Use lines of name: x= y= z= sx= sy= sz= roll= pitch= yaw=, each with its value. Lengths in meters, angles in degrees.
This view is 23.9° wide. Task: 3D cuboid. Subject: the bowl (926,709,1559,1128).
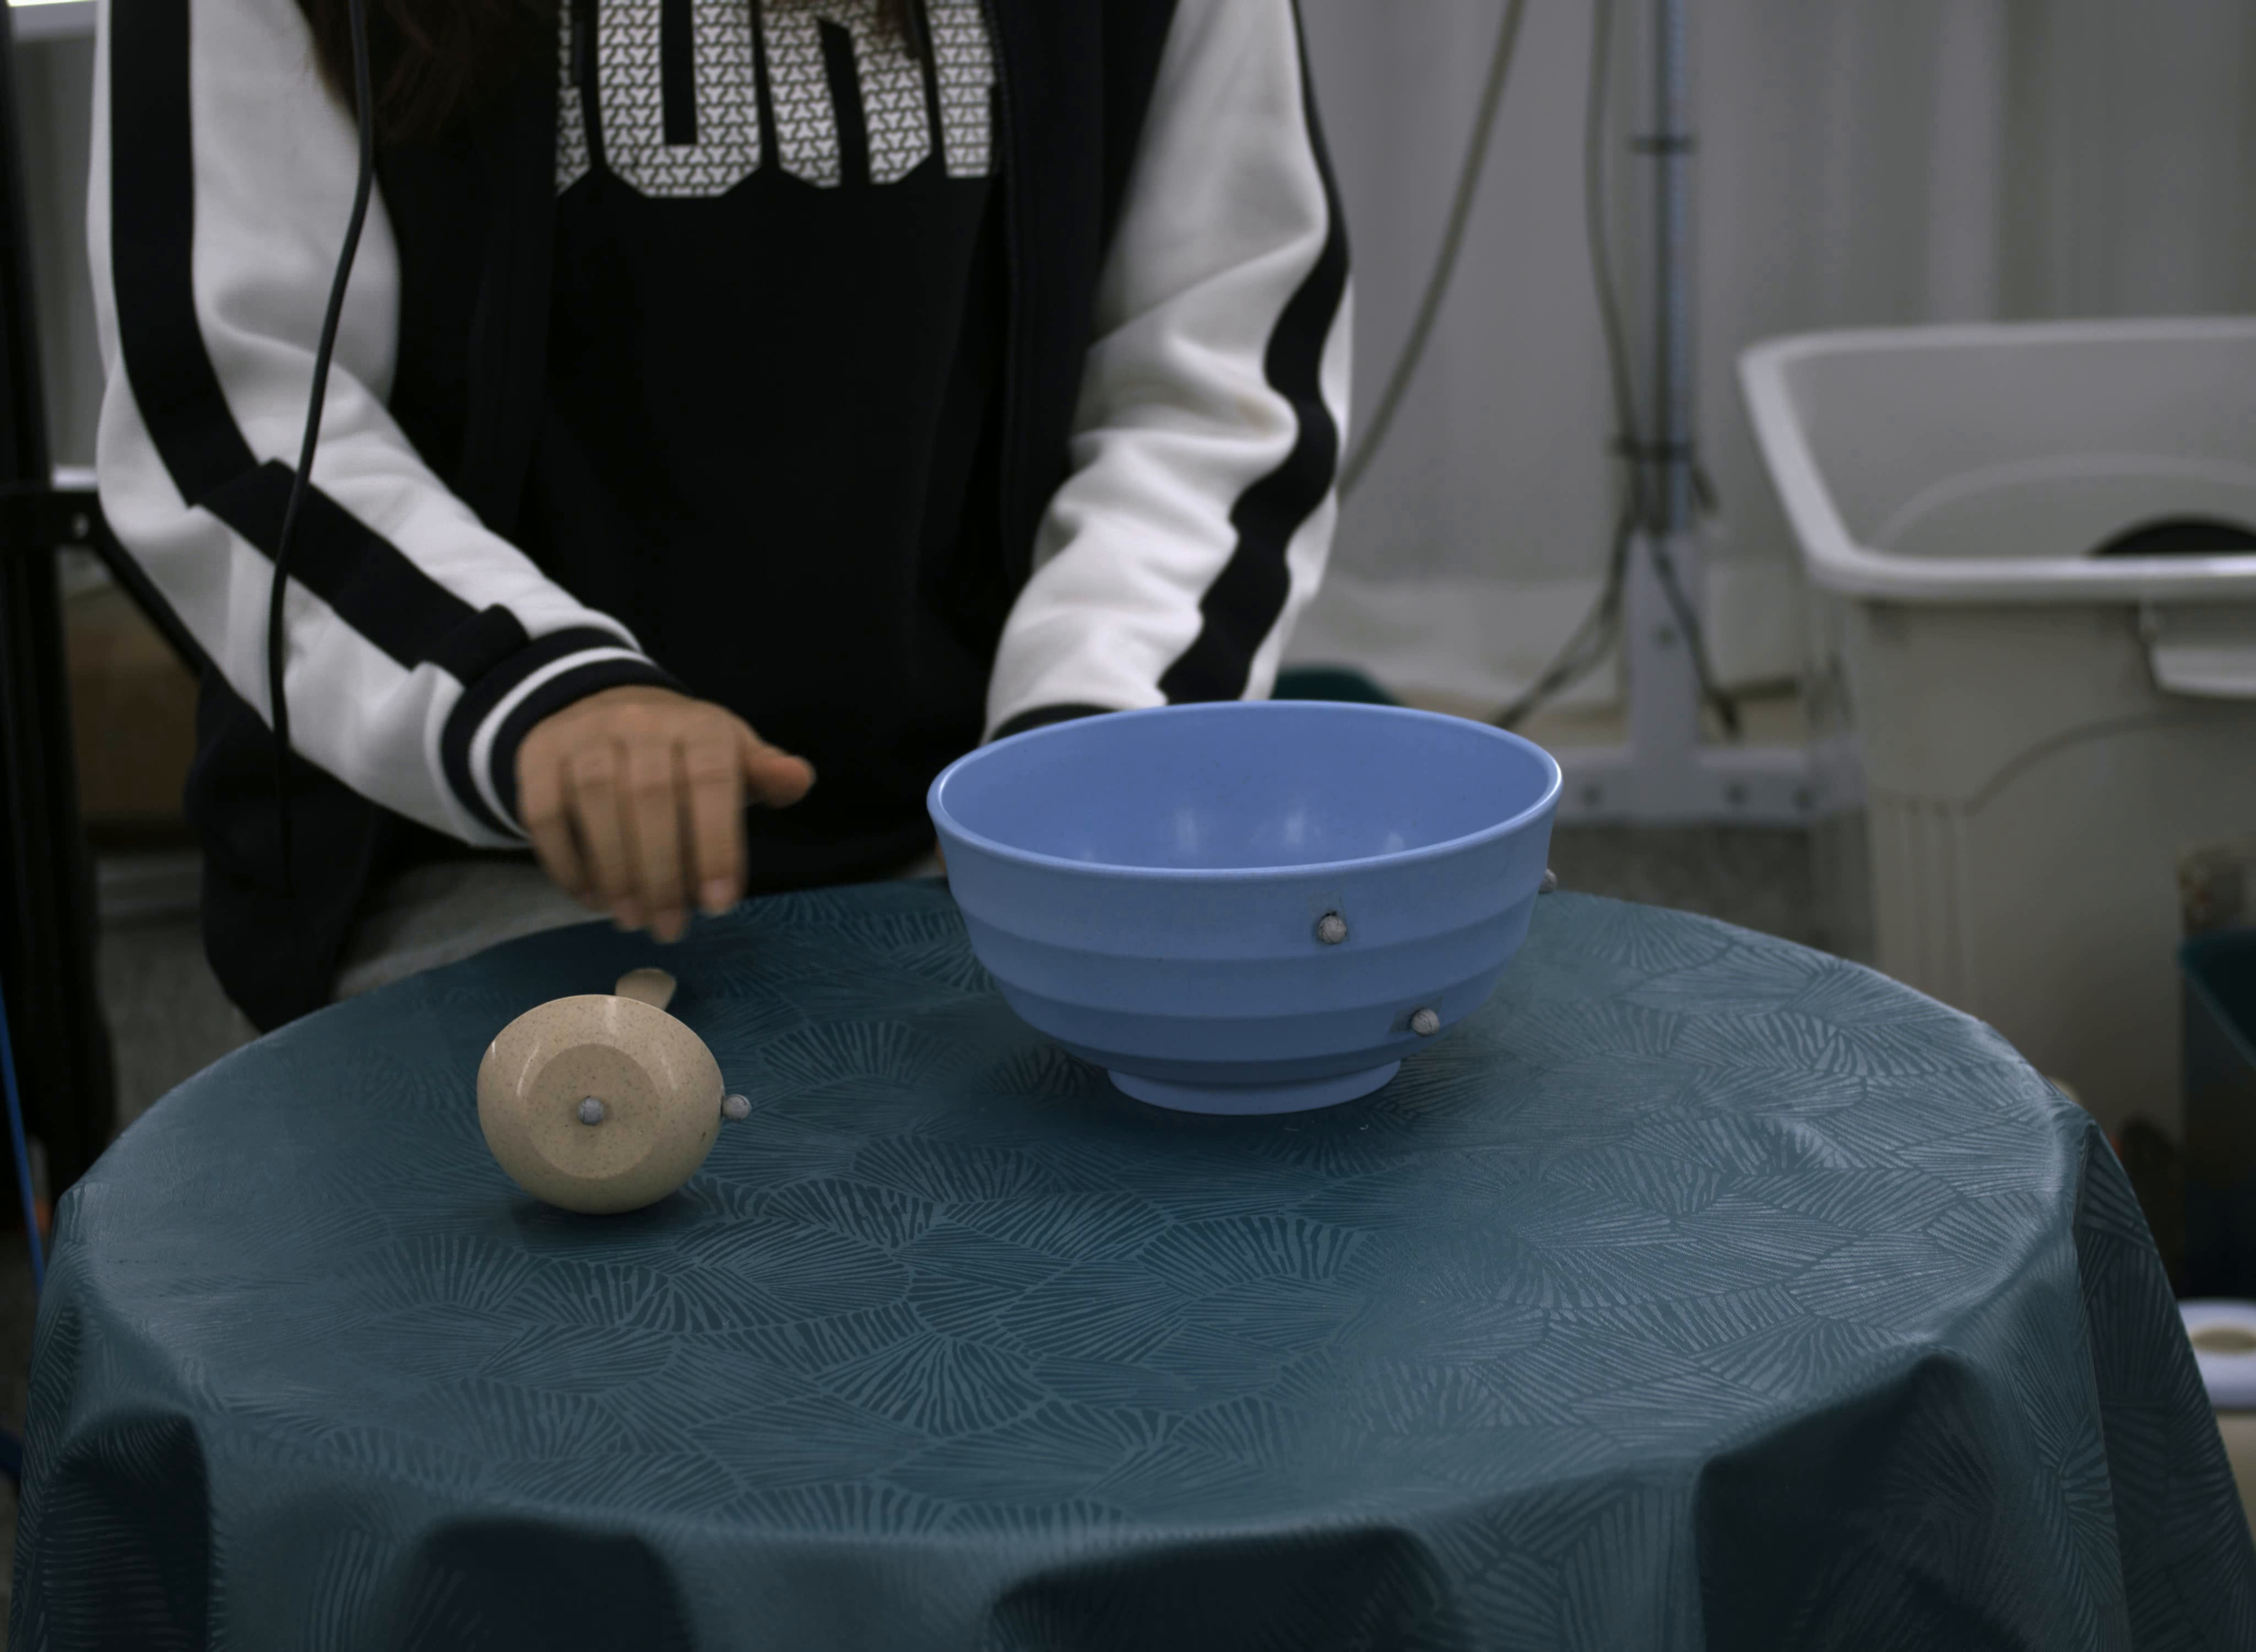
bowl: x=0.038 y=0.034 z=1.650 sx=0.195 sy=0.095 sz=0.197 roll=-4 pitch=16 yaw=0

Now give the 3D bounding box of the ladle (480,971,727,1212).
ladle: x=-0.159 y=0.052 z=1.650 sx=0.071 sy=0.073 sz=0.256 roll=-2 pitch=16 yaw=-3
